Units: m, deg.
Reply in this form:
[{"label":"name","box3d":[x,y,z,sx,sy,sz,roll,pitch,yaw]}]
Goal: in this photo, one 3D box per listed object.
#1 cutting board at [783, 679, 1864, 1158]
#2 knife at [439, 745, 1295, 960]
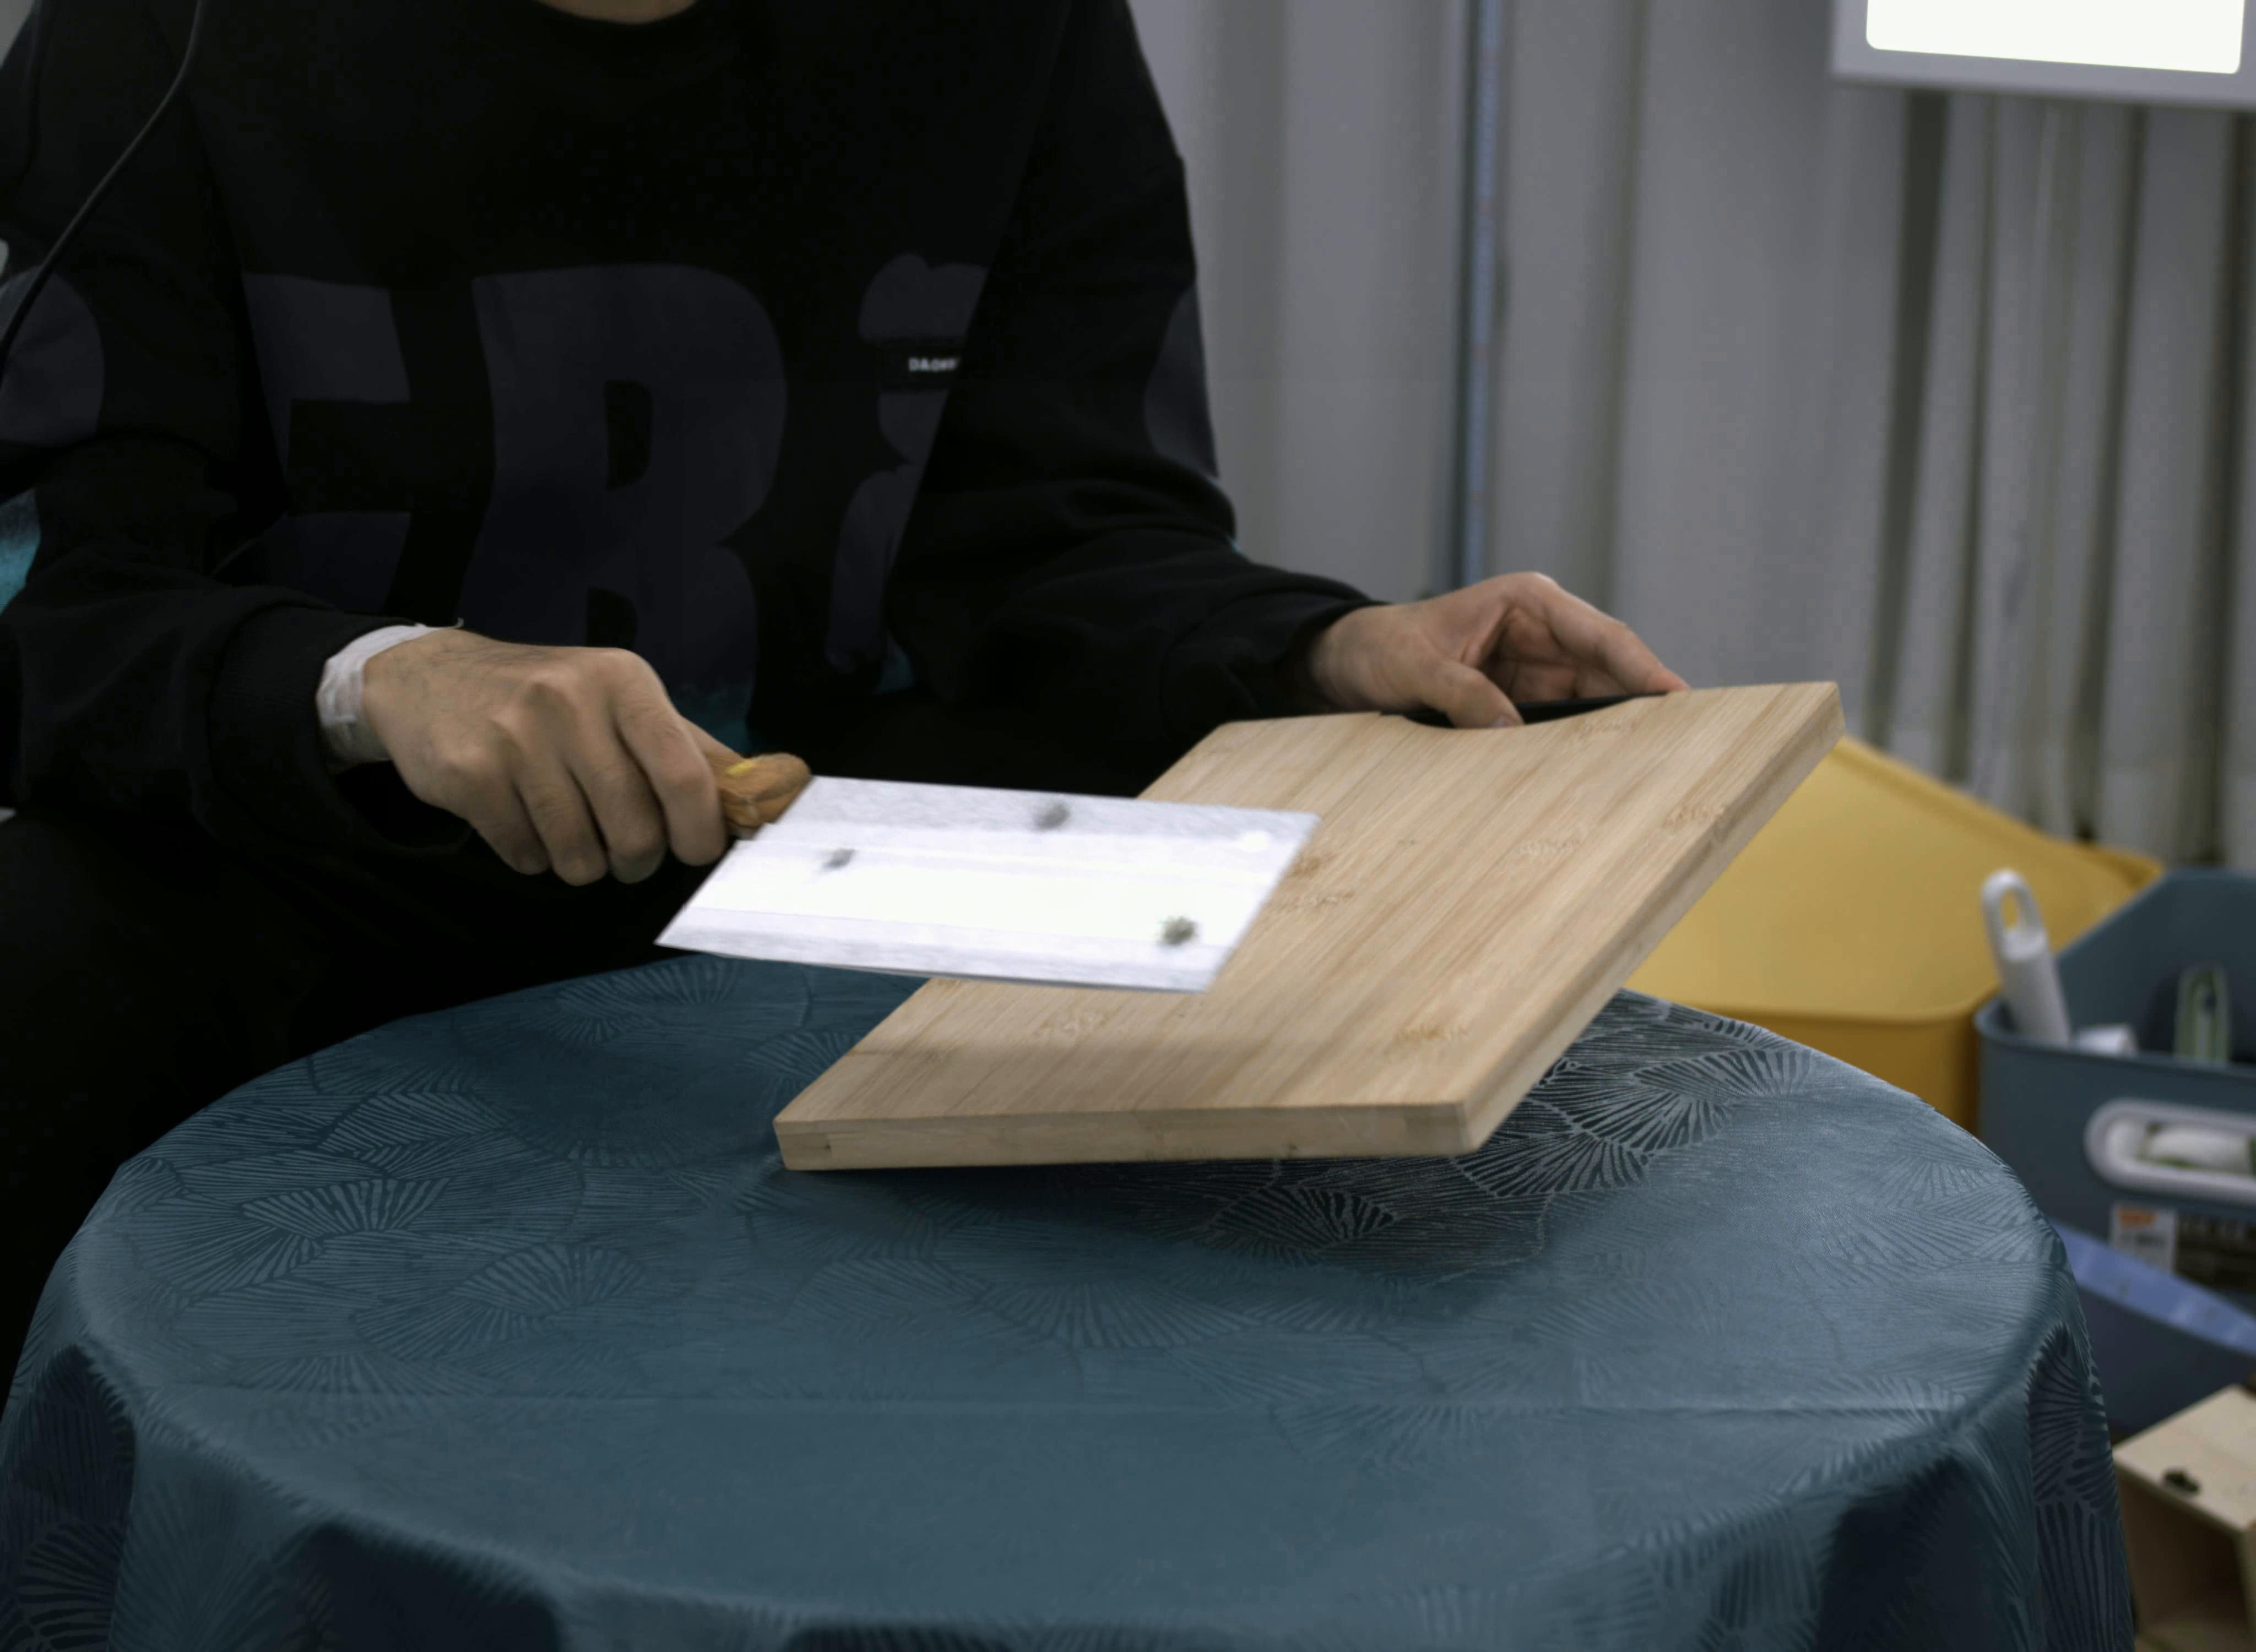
[{"label":"cutting board","box3d":[0.071,0.028,1.723,0.248,0.024,0.348,-3,21,27]},{"label":"knife","box3d":[-0.096,0.010,1.617,0.302,0.021,0.092,4,39,28]}]
